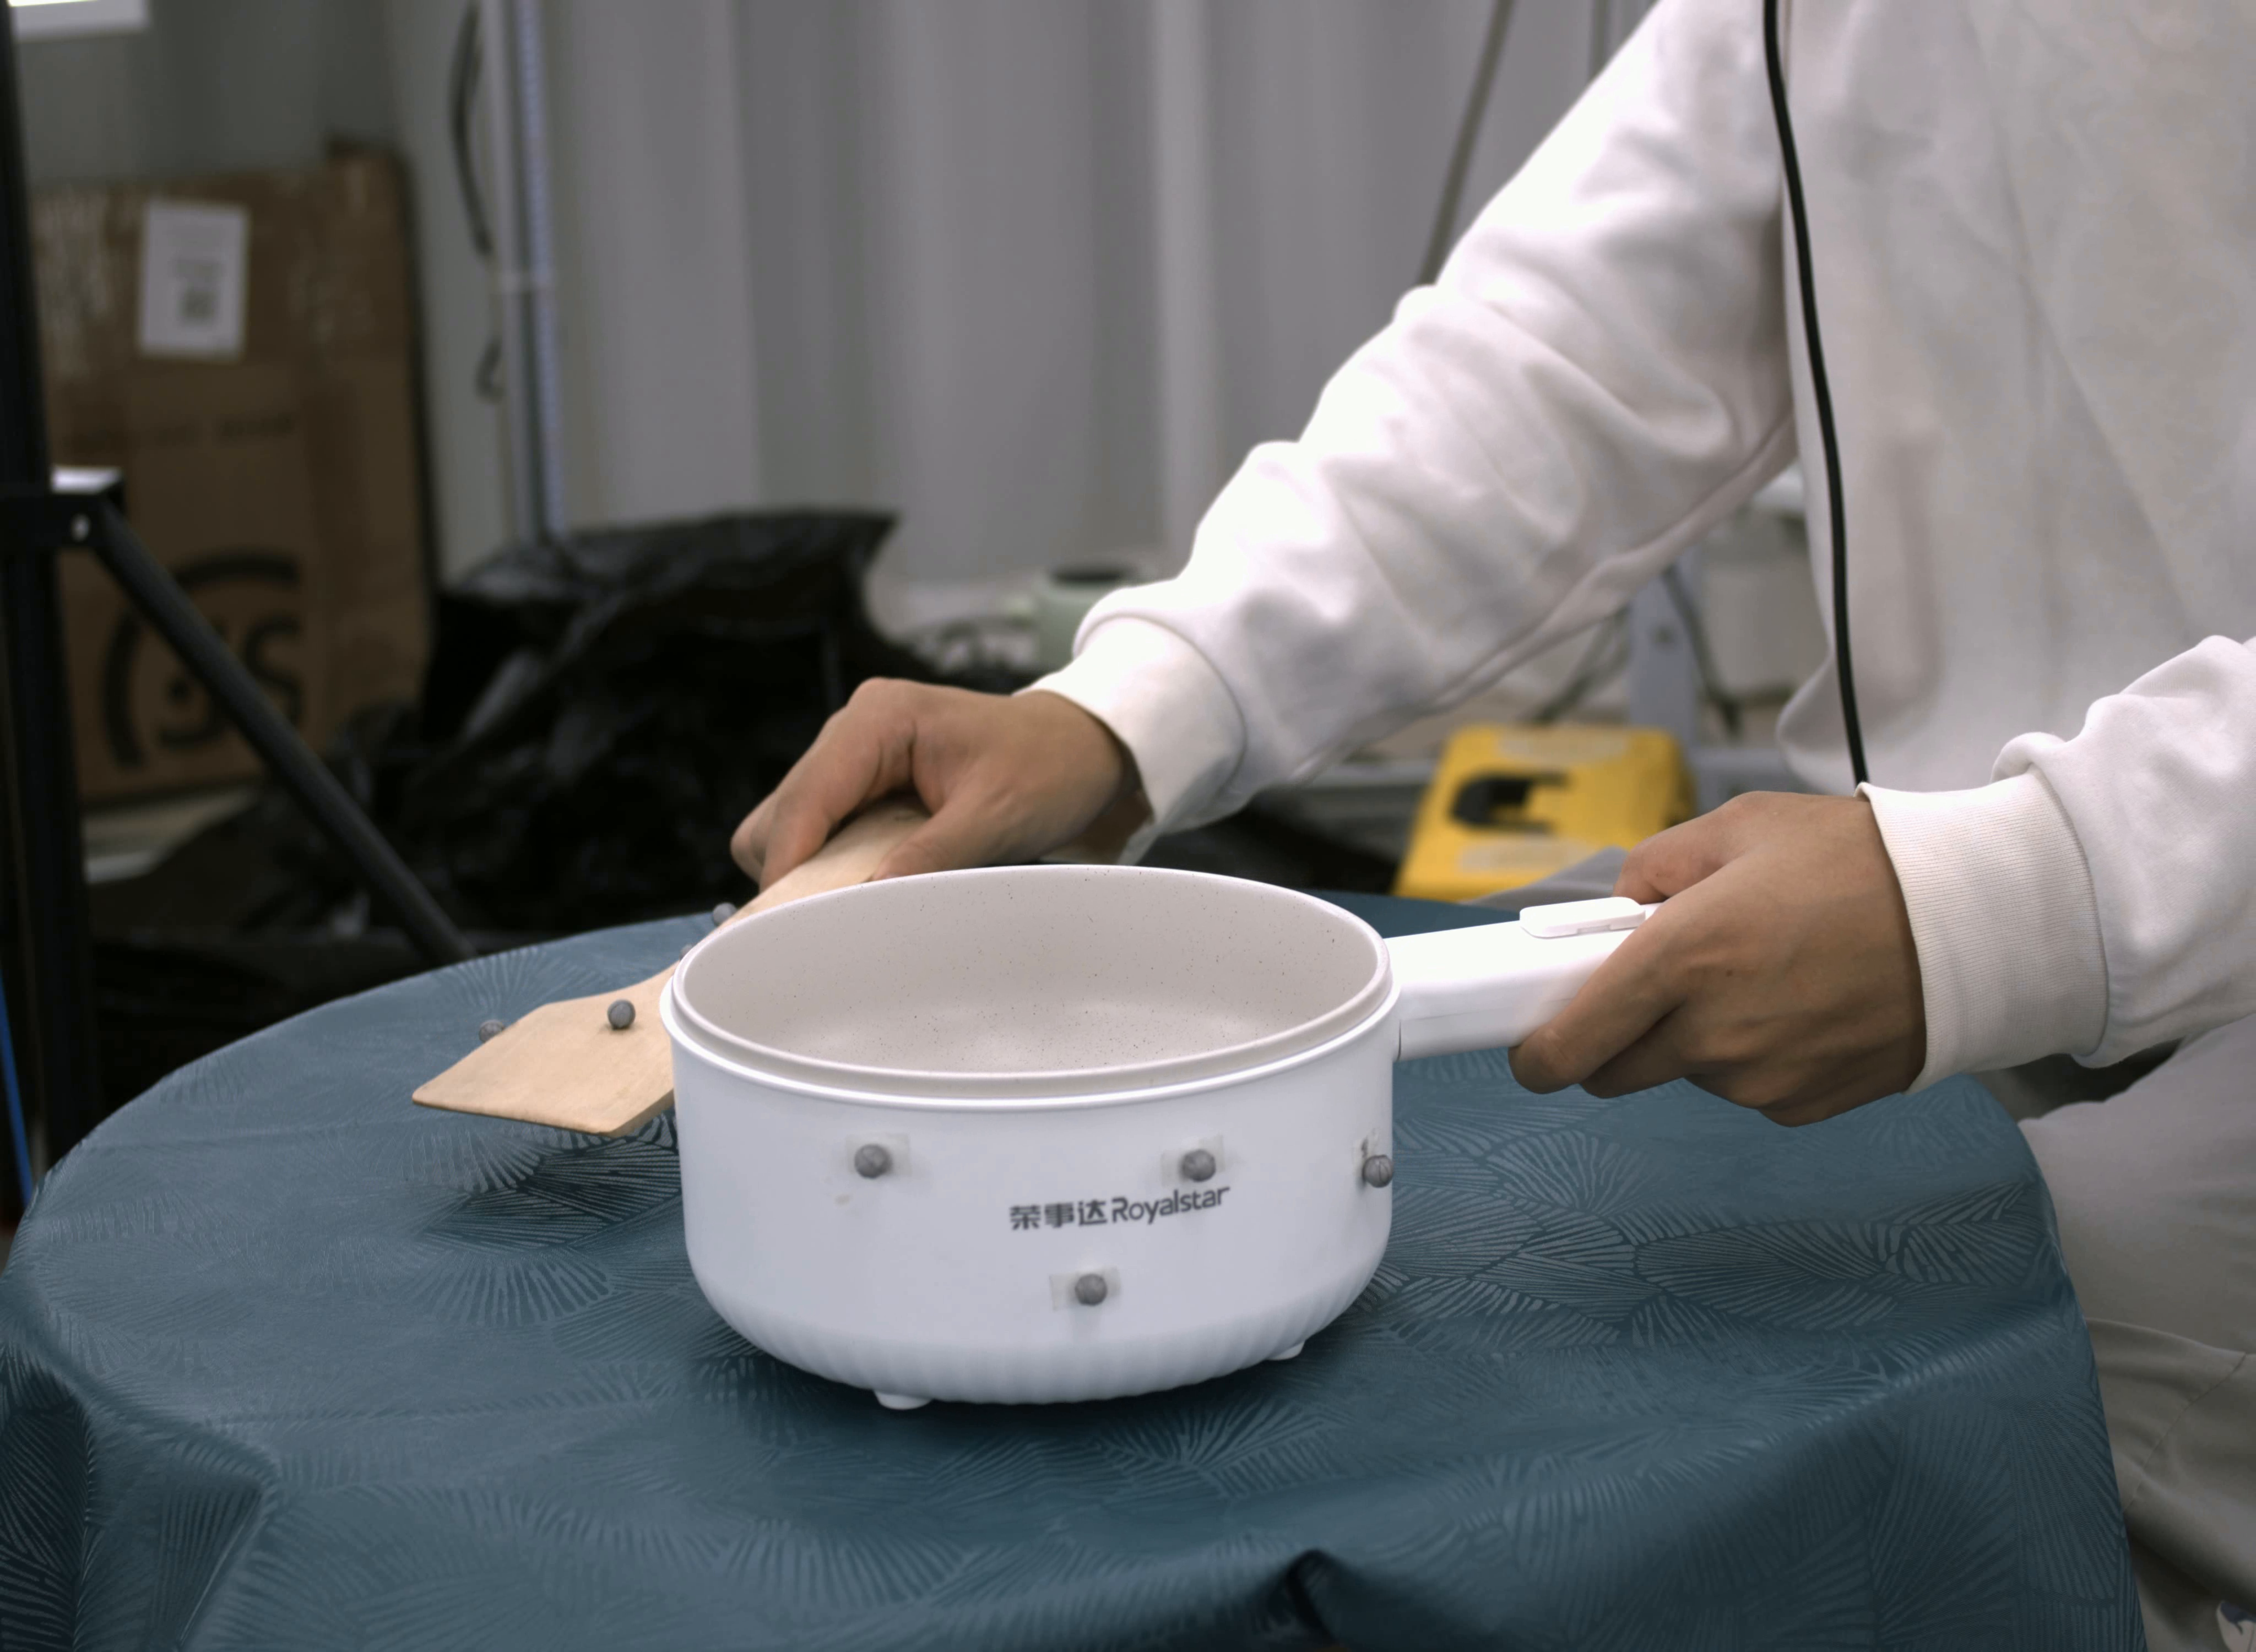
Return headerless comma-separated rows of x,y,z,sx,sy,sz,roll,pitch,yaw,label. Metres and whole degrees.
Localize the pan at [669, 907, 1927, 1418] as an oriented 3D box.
0.050,0.087,1.467,0.349,0.102,0.204,-4,11,-14,pan
